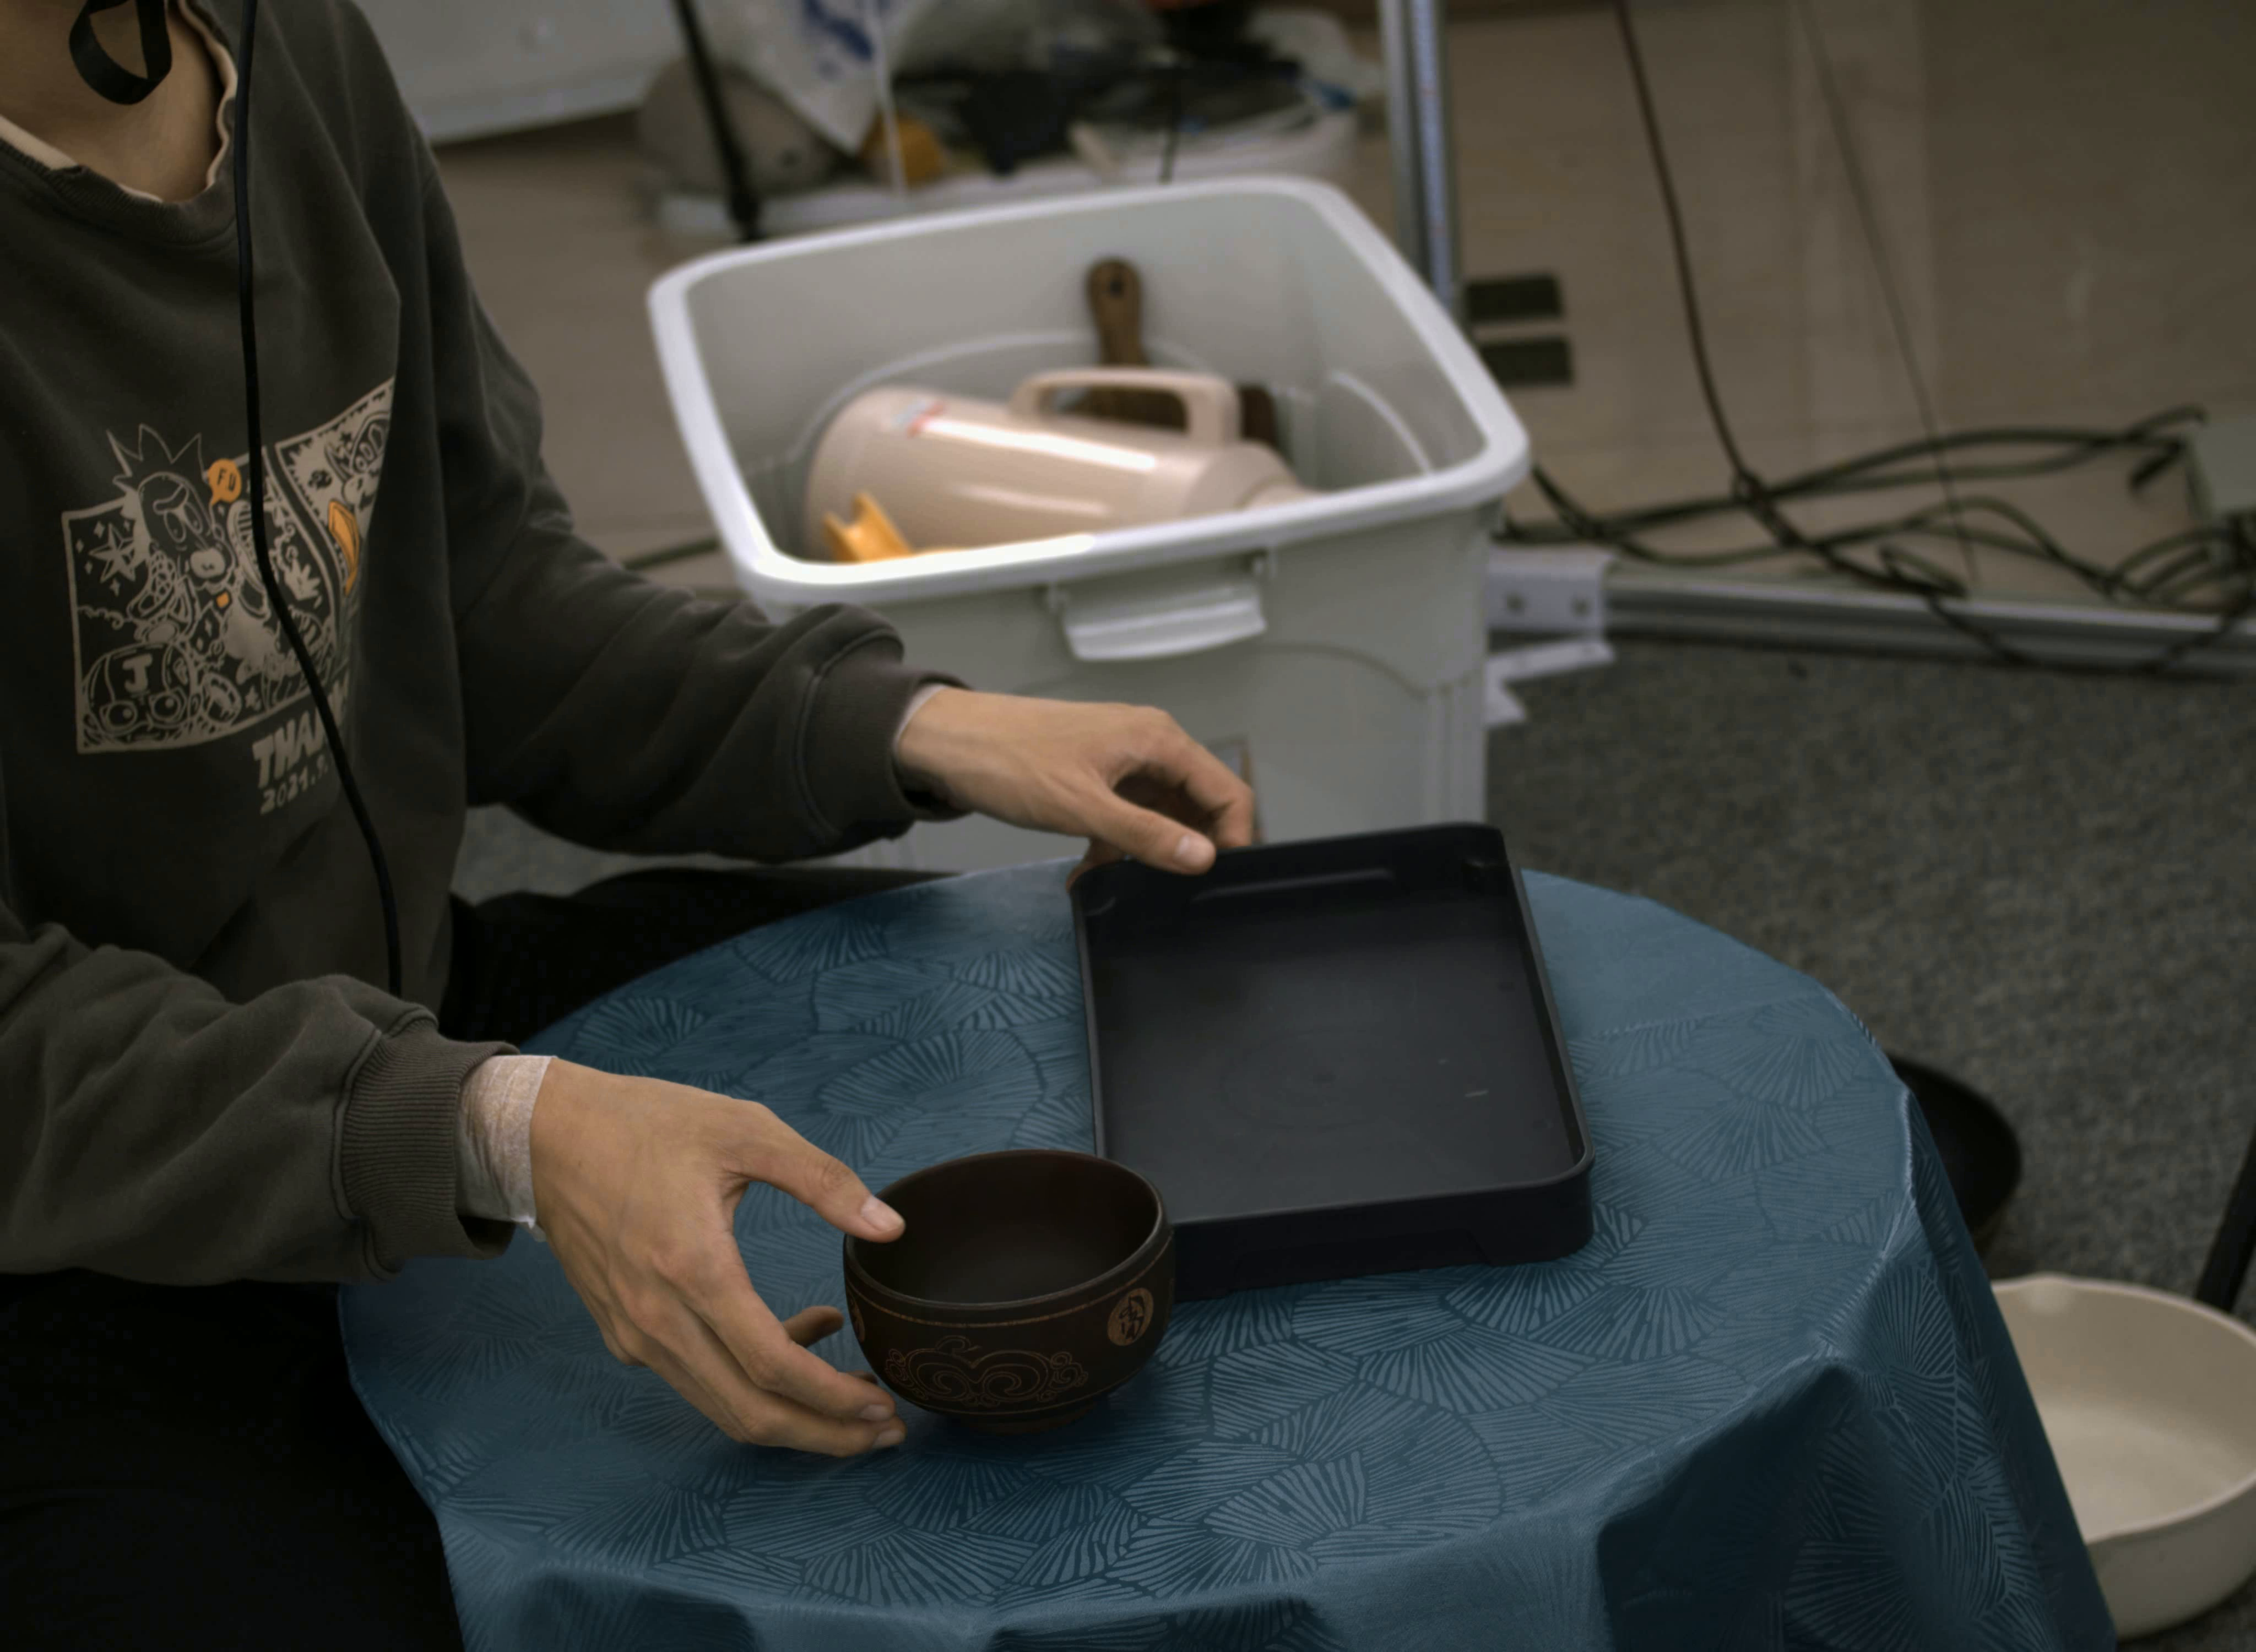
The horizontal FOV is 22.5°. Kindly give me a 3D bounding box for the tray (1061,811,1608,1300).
[{"bbox_3d":[0.076,0.084,2.203,0.184,0.037,0.313,-8,25,-1],"label":"tray"}]

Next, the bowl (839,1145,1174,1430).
[{"bbox_3d":[-0.040,0.170,2.005,0.118,0.071,0.116,-7,25,3],"label":"bowl"}]
